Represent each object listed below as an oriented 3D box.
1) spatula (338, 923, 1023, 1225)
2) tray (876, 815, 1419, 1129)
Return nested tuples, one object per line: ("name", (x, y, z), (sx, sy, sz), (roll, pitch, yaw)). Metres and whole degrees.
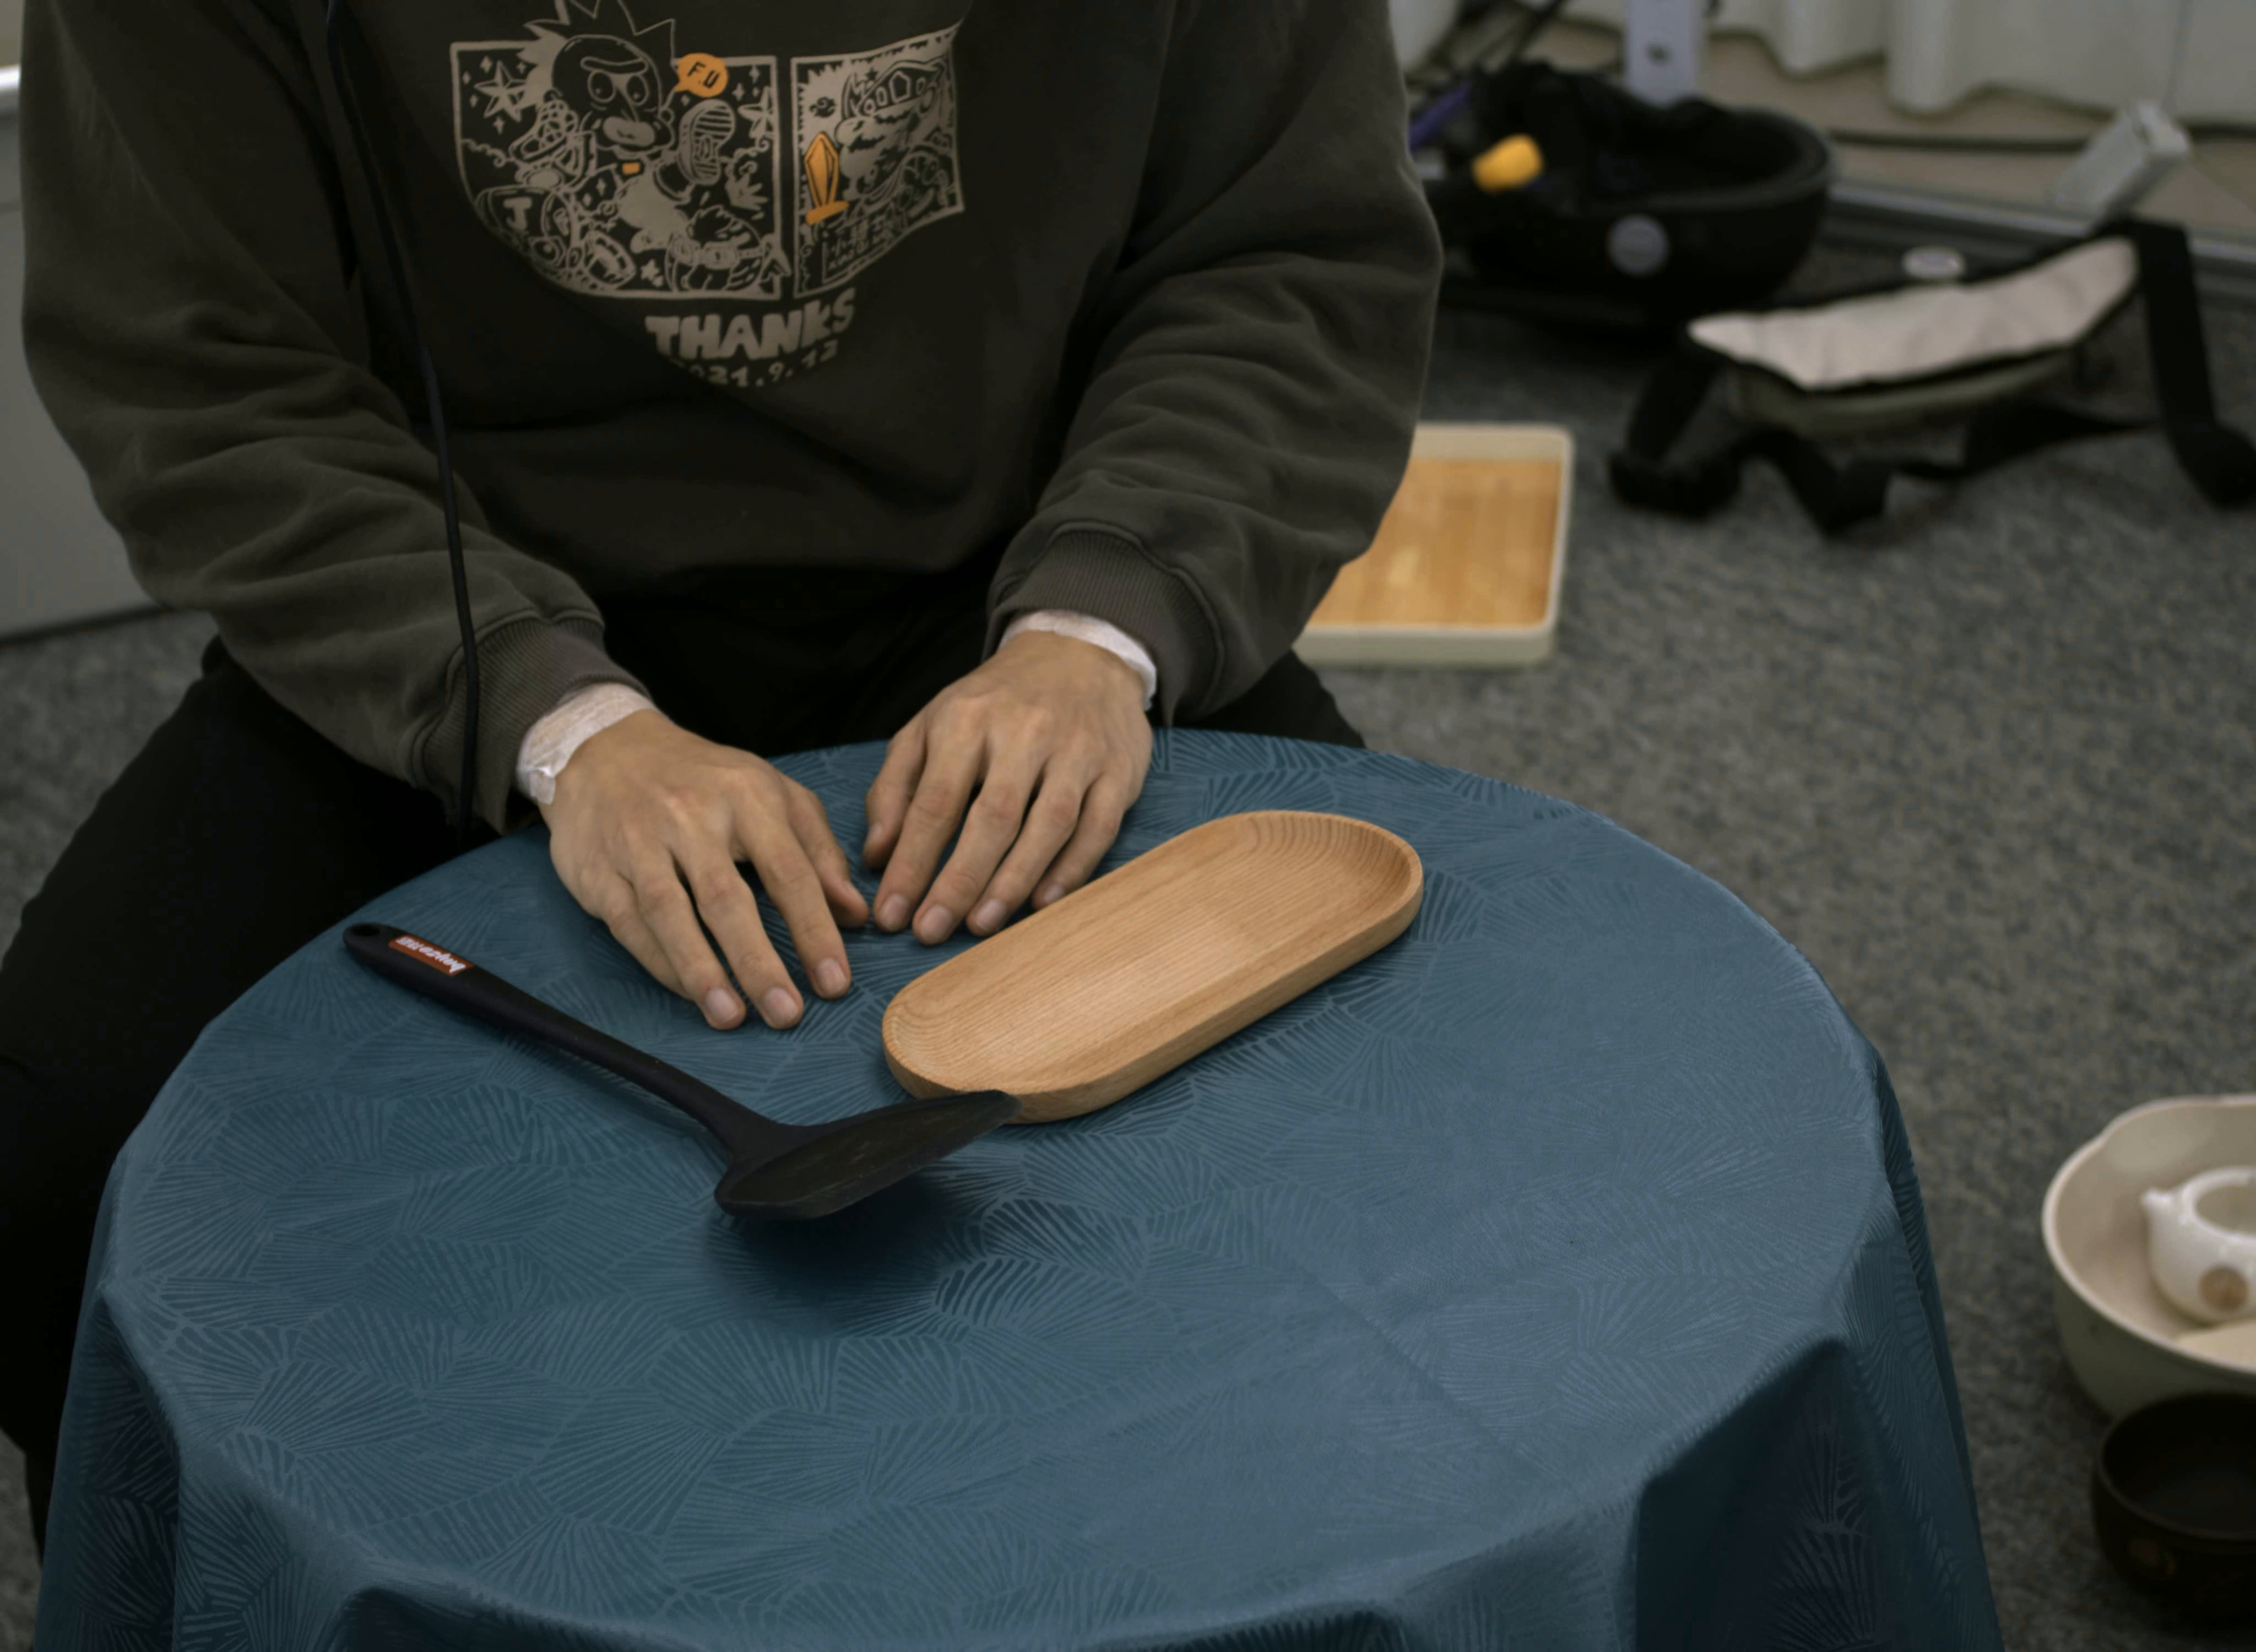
("spatula", (-0.173, 0.076, 1.925), (0.101, 0.040, 0.326), (-24, 34, -37))
("tray", (0.009, 0.050, 1.979), (0.101, 0.020, 0.234), (21, 37, 39))
